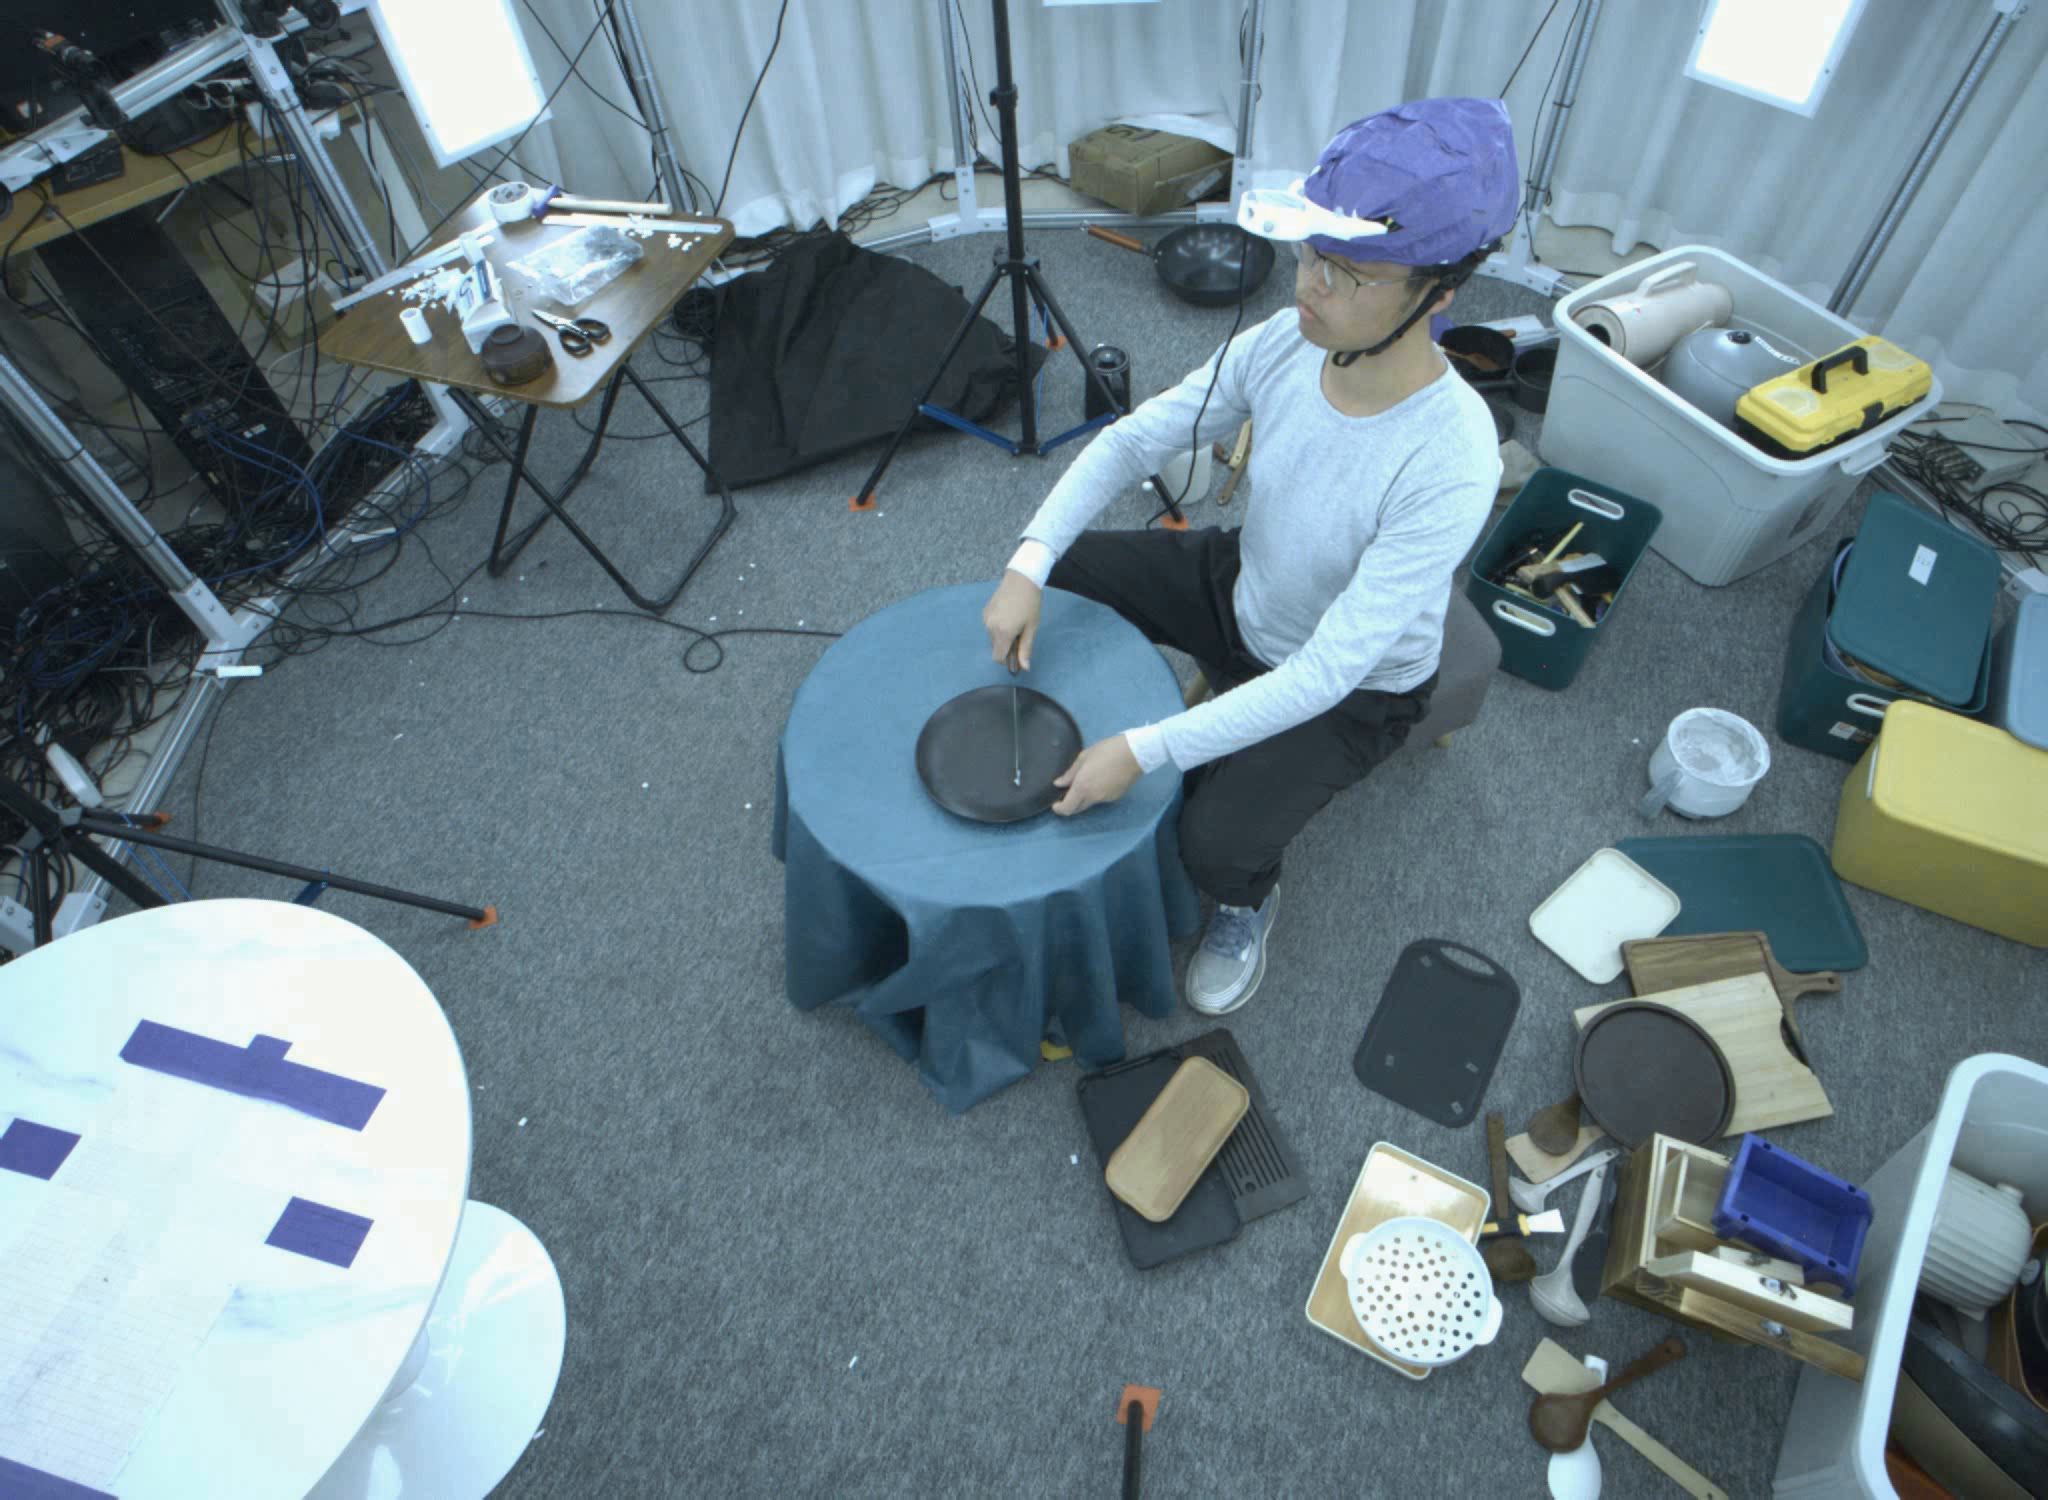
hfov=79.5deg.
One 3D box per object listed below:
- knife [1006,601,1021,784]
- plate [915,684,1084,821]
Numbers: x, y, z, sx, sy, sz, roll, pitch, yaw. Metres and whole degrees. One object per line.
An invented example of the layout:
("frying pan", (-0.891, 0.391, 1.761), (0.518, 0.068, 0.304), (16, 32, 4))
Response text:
("knife", (-0.013, -0.087, 1.789), (0.020, 0.050, 0.287), (-2, 69, -1))
("plate", (-0.036, 0.005, 1.778), (0.244, 0.023, 0.242), (0, 54, 1))
